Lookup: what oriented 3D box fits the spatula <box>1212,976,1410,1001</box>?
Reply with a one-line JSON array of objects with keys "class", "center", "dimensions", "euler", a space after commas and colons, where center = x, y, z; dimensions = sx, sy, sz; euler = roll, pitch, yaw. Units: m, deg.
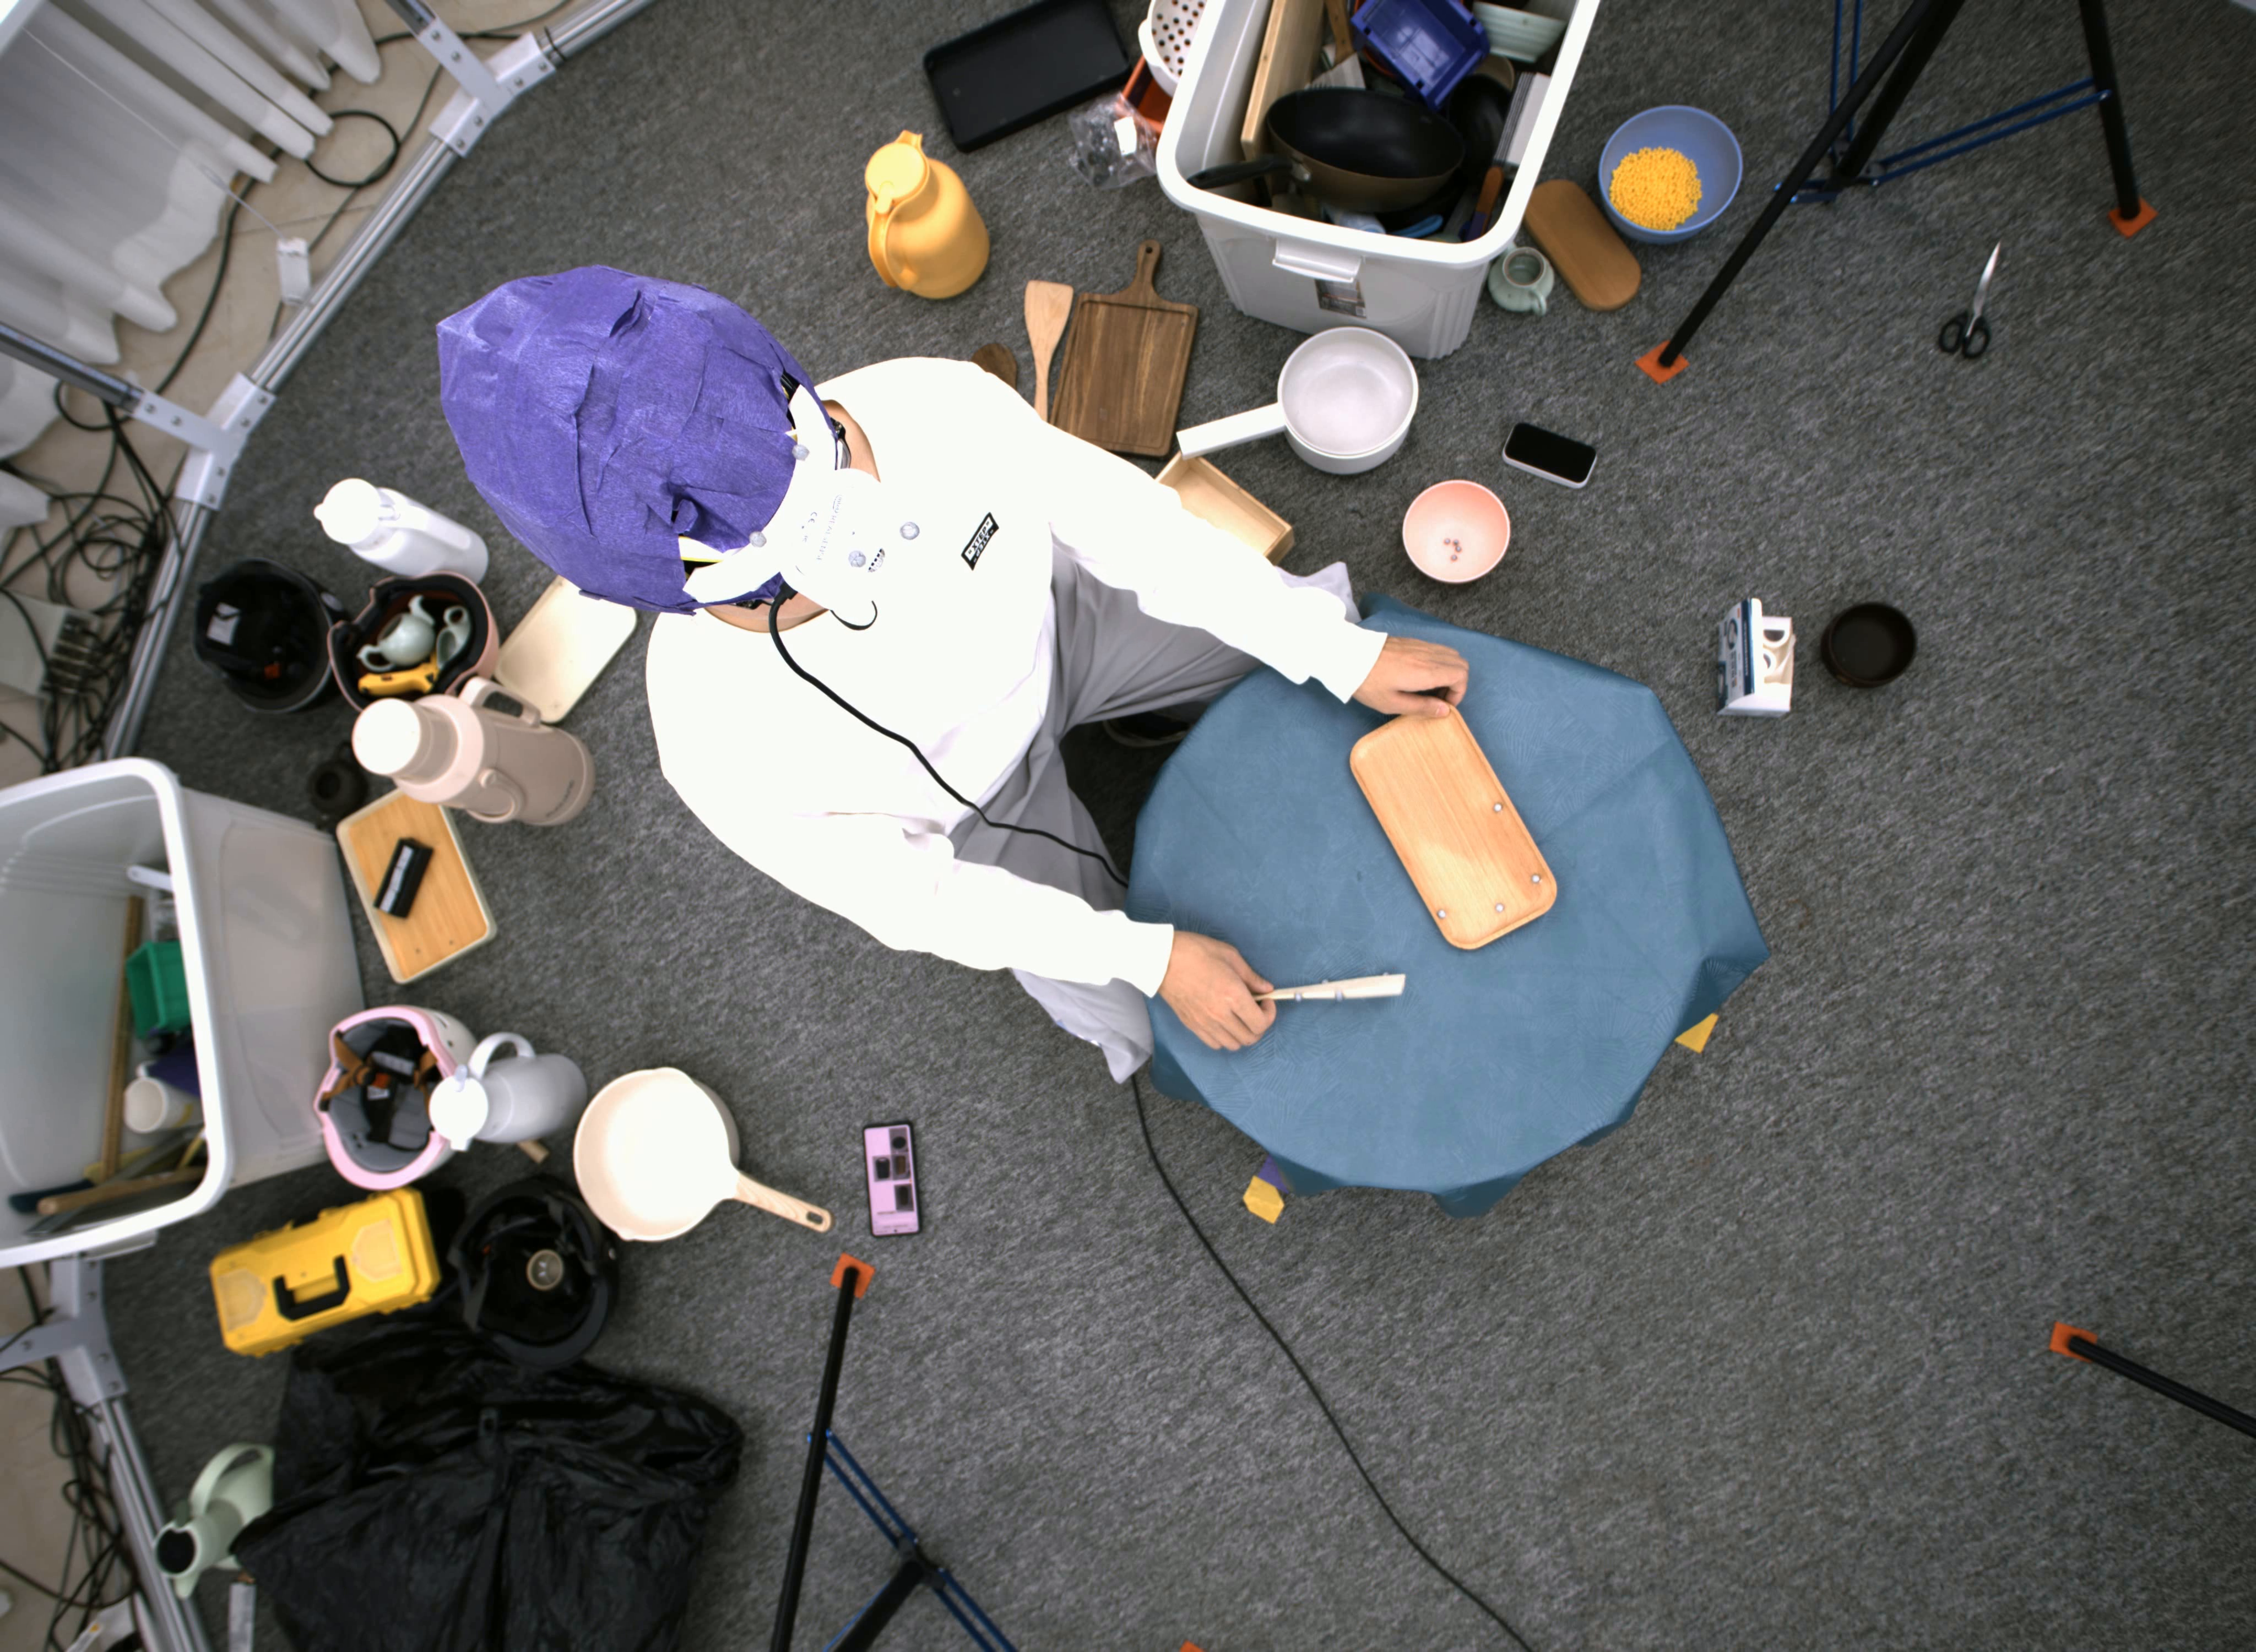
[{"class": "spatula", "center": [0.189, 0.172, 1.449], "dimensions": [0.209, 0.049, 0.005], "euler": [-4, 111, 17]}]

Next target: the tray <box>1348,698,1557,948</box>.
[{"class": "tray", "center": [0.336, -0.005, 1.432], "dimensions": [0.132, 0.023, 0.249], "euler": [-29, 83, 13]}]
